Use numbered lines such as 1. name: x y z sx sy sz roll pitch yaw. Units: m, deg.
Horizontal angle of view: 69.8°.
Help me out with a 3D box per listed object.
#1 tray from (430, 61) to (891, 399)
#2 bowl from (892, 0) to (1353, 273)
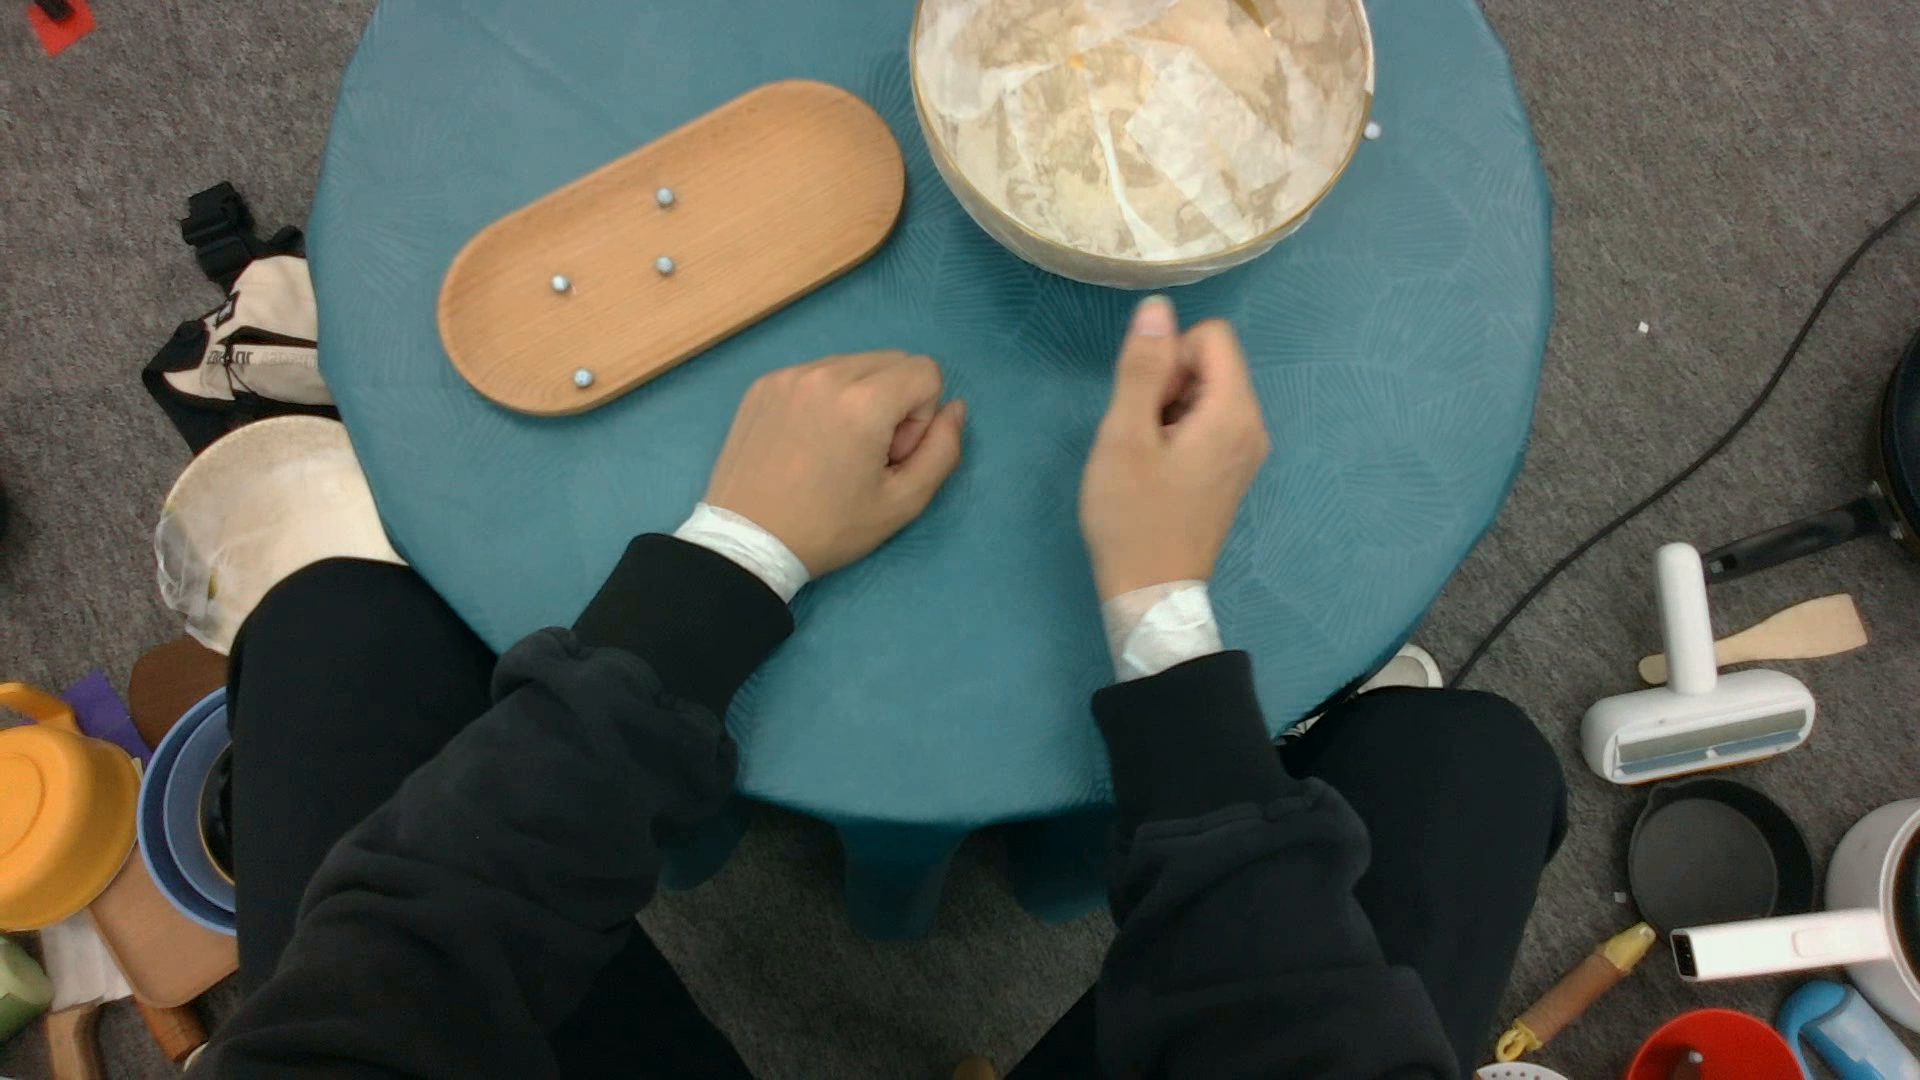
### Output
1. tray: -0.138 -0.147 0.651 0.231 0.020 0.102 -32 82 -12
2. bowl: 0.066 -0.207 0.639 0.215 0.094 0.215 1 77 -4
